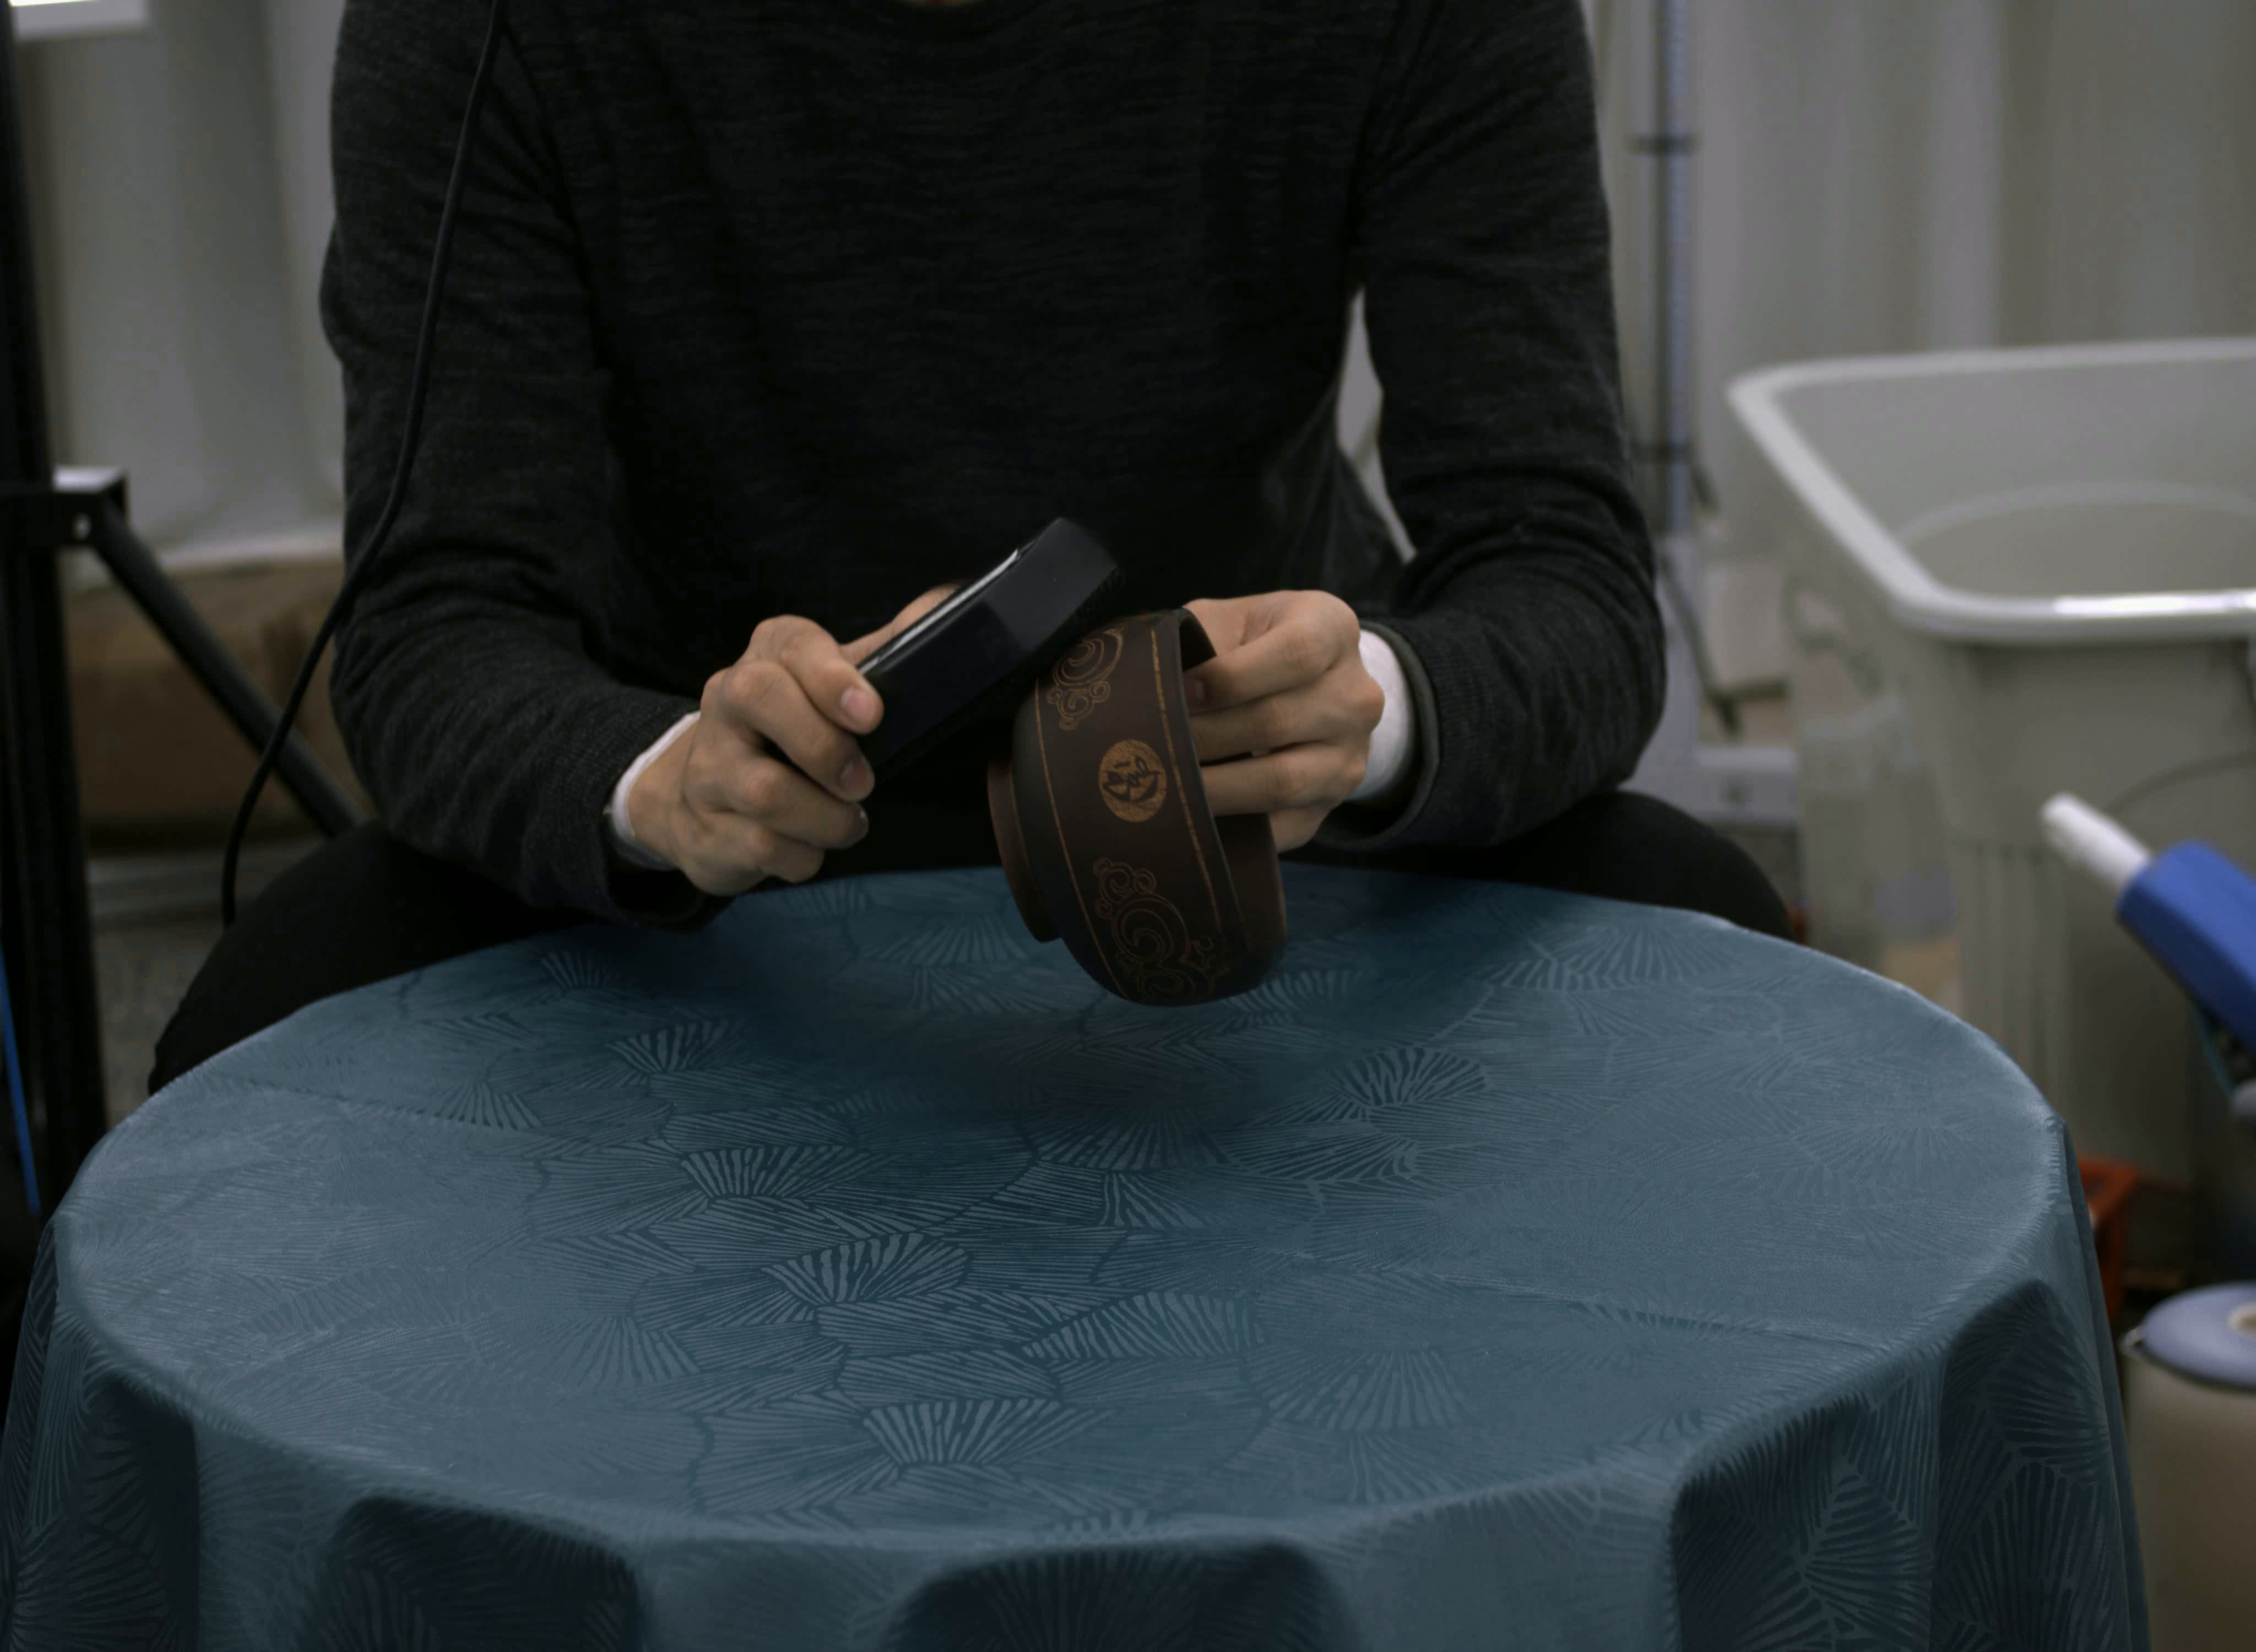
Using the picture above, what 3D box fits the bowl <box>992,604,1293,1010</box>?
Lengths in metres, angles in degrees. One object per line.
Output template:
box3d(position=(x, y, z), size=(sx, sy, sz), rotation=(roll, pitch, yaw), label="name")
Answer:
box3d(position=(0.001, -0.001, 1.579), size=(0.070, 0.118, 0.118), rotation=(-15, 14, 9), label="bowl")

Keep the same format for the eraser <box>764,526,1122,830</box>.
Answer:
box3d(position=(-0.056, -0.044, 1.605), size=(0.127, 0.030, 0.053), rotation=(-35, 6, 45), label="eraser")
